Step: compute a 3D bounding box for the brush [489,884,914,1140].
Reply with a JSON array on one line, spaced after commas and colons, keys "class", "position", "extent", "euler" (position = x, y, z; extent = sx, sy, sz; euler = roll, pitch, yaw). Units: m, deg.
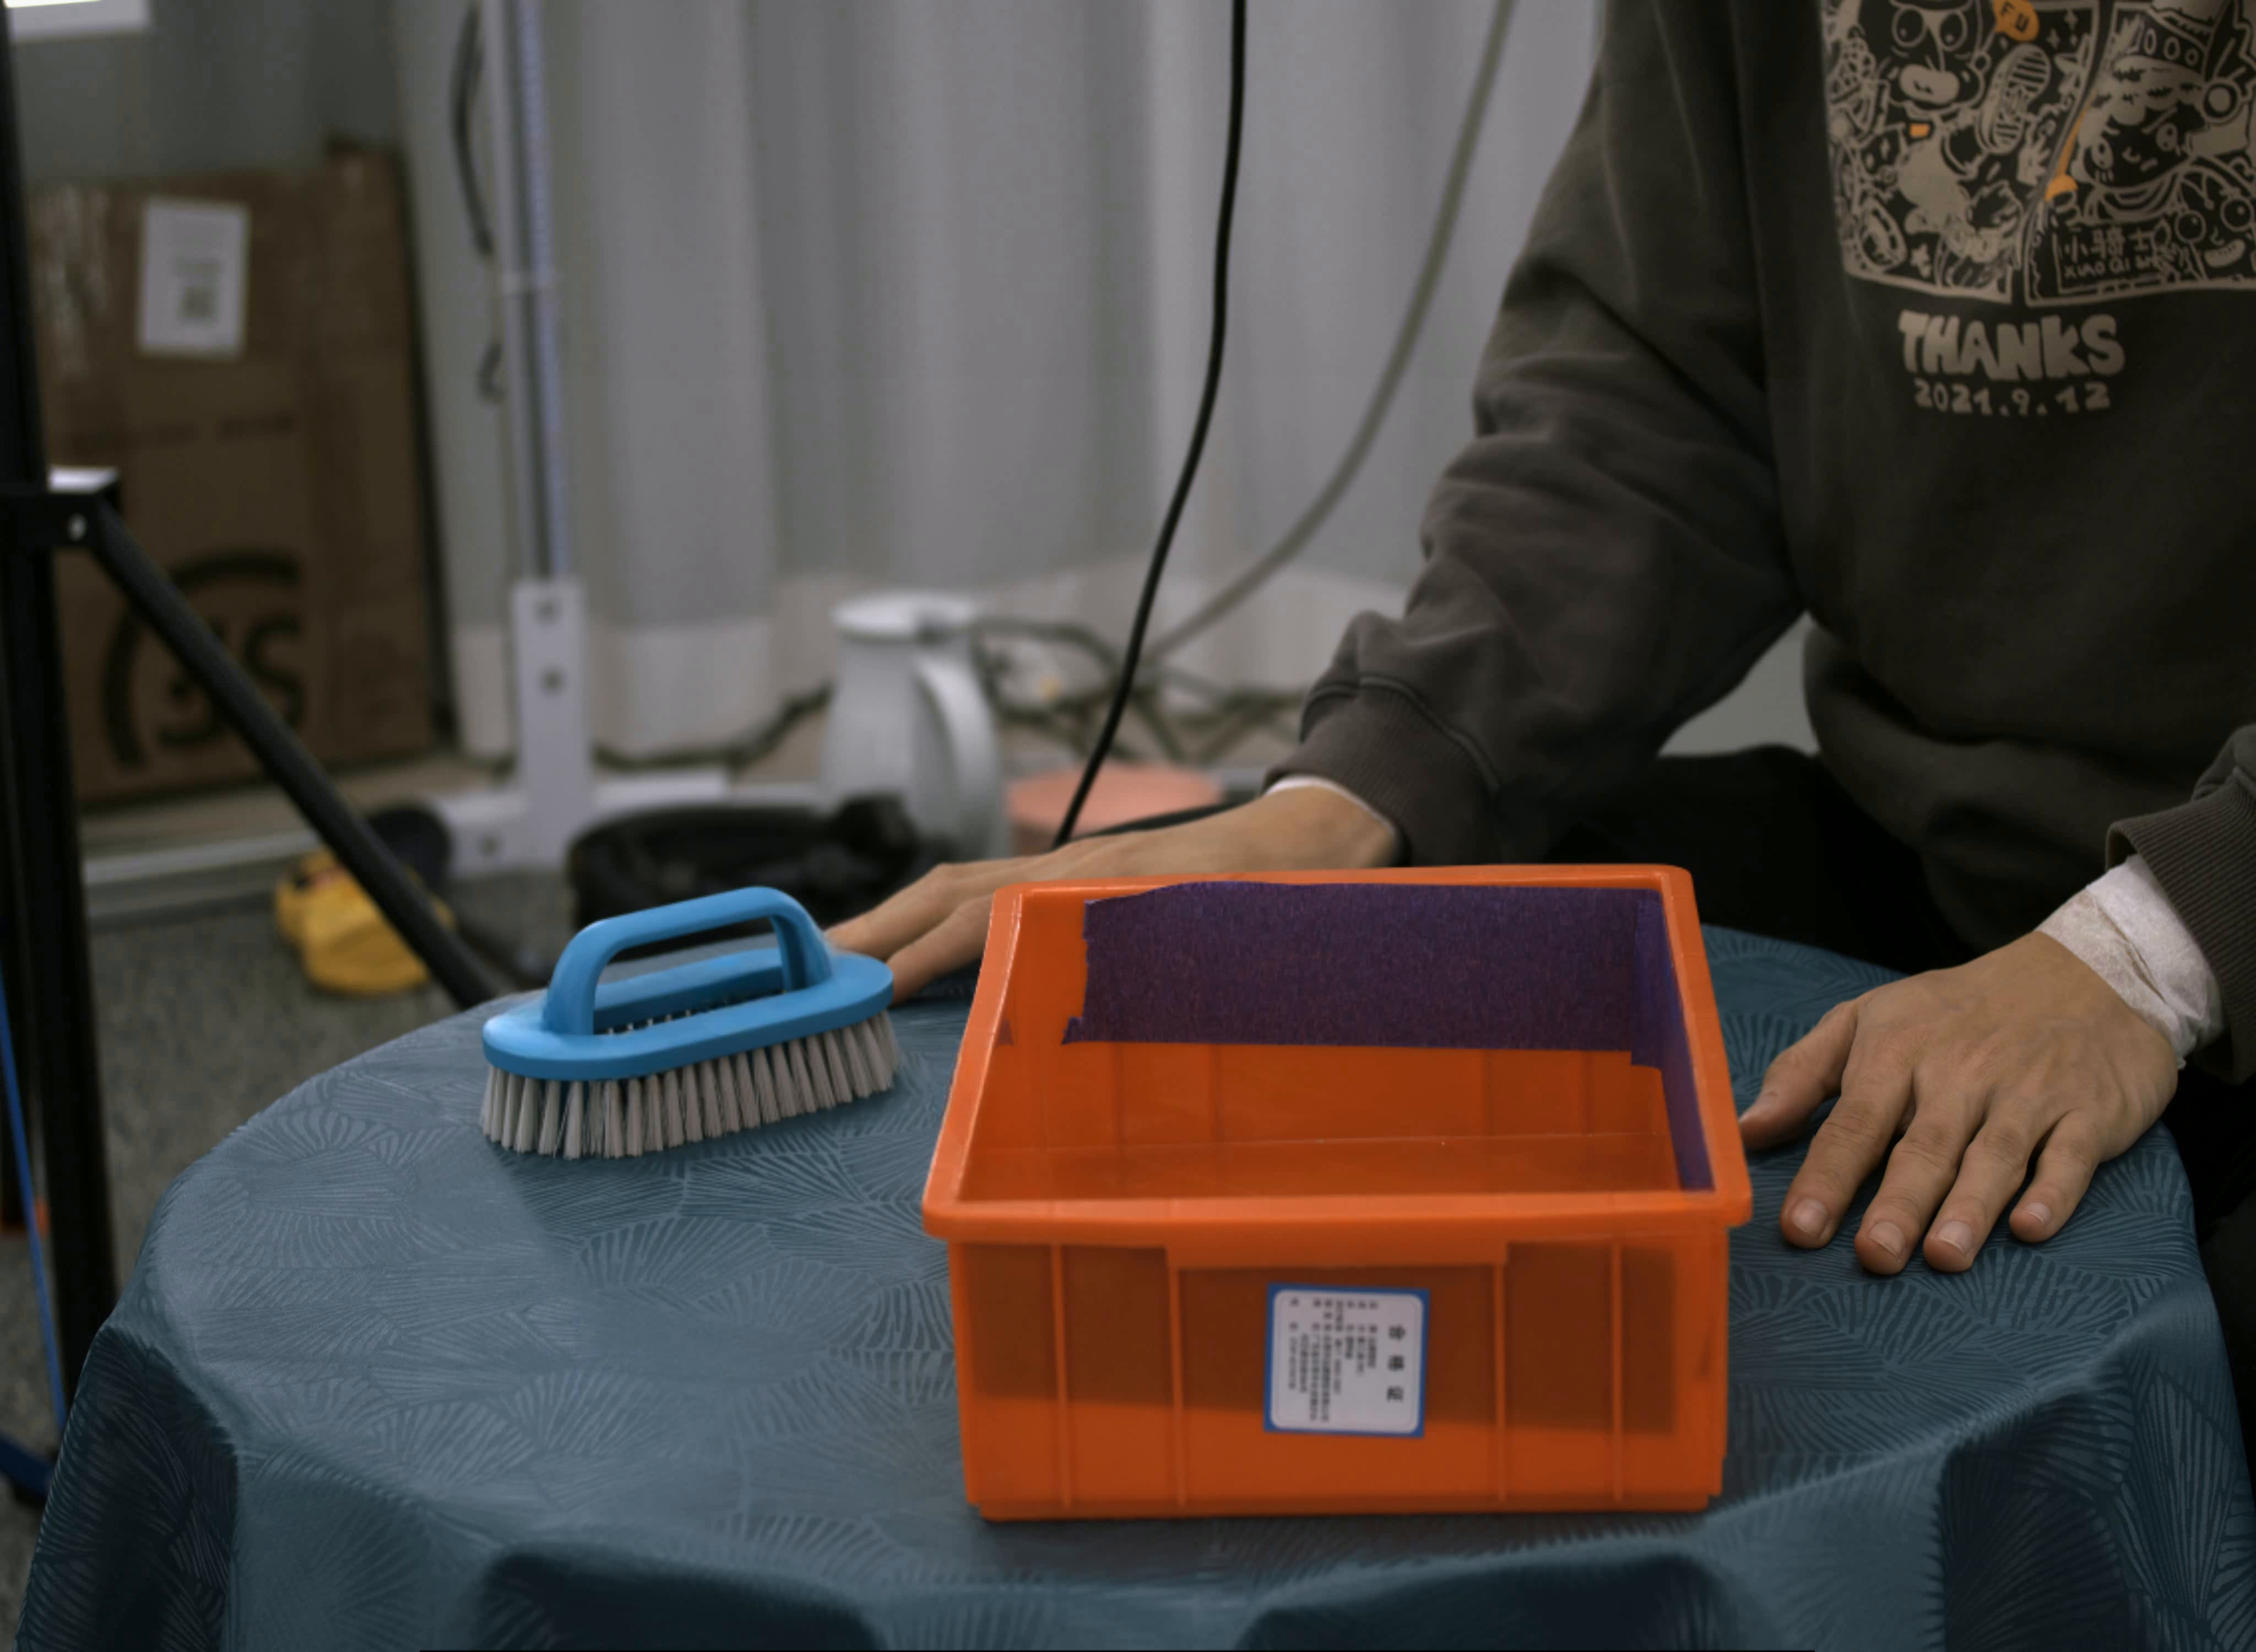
[{"class": "brush", "position": [-0.135, 0.054, 1.658], "extent": [0.138, 0.064, 0.086], "euler": [-10, 12, -30]}]

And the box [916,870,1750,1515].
[{"class": "box", "position": [0.058, 0.095, 1.440], "extent": [0.206, 0.096, 0.304], "euler": [-1, 16, 4]}]
